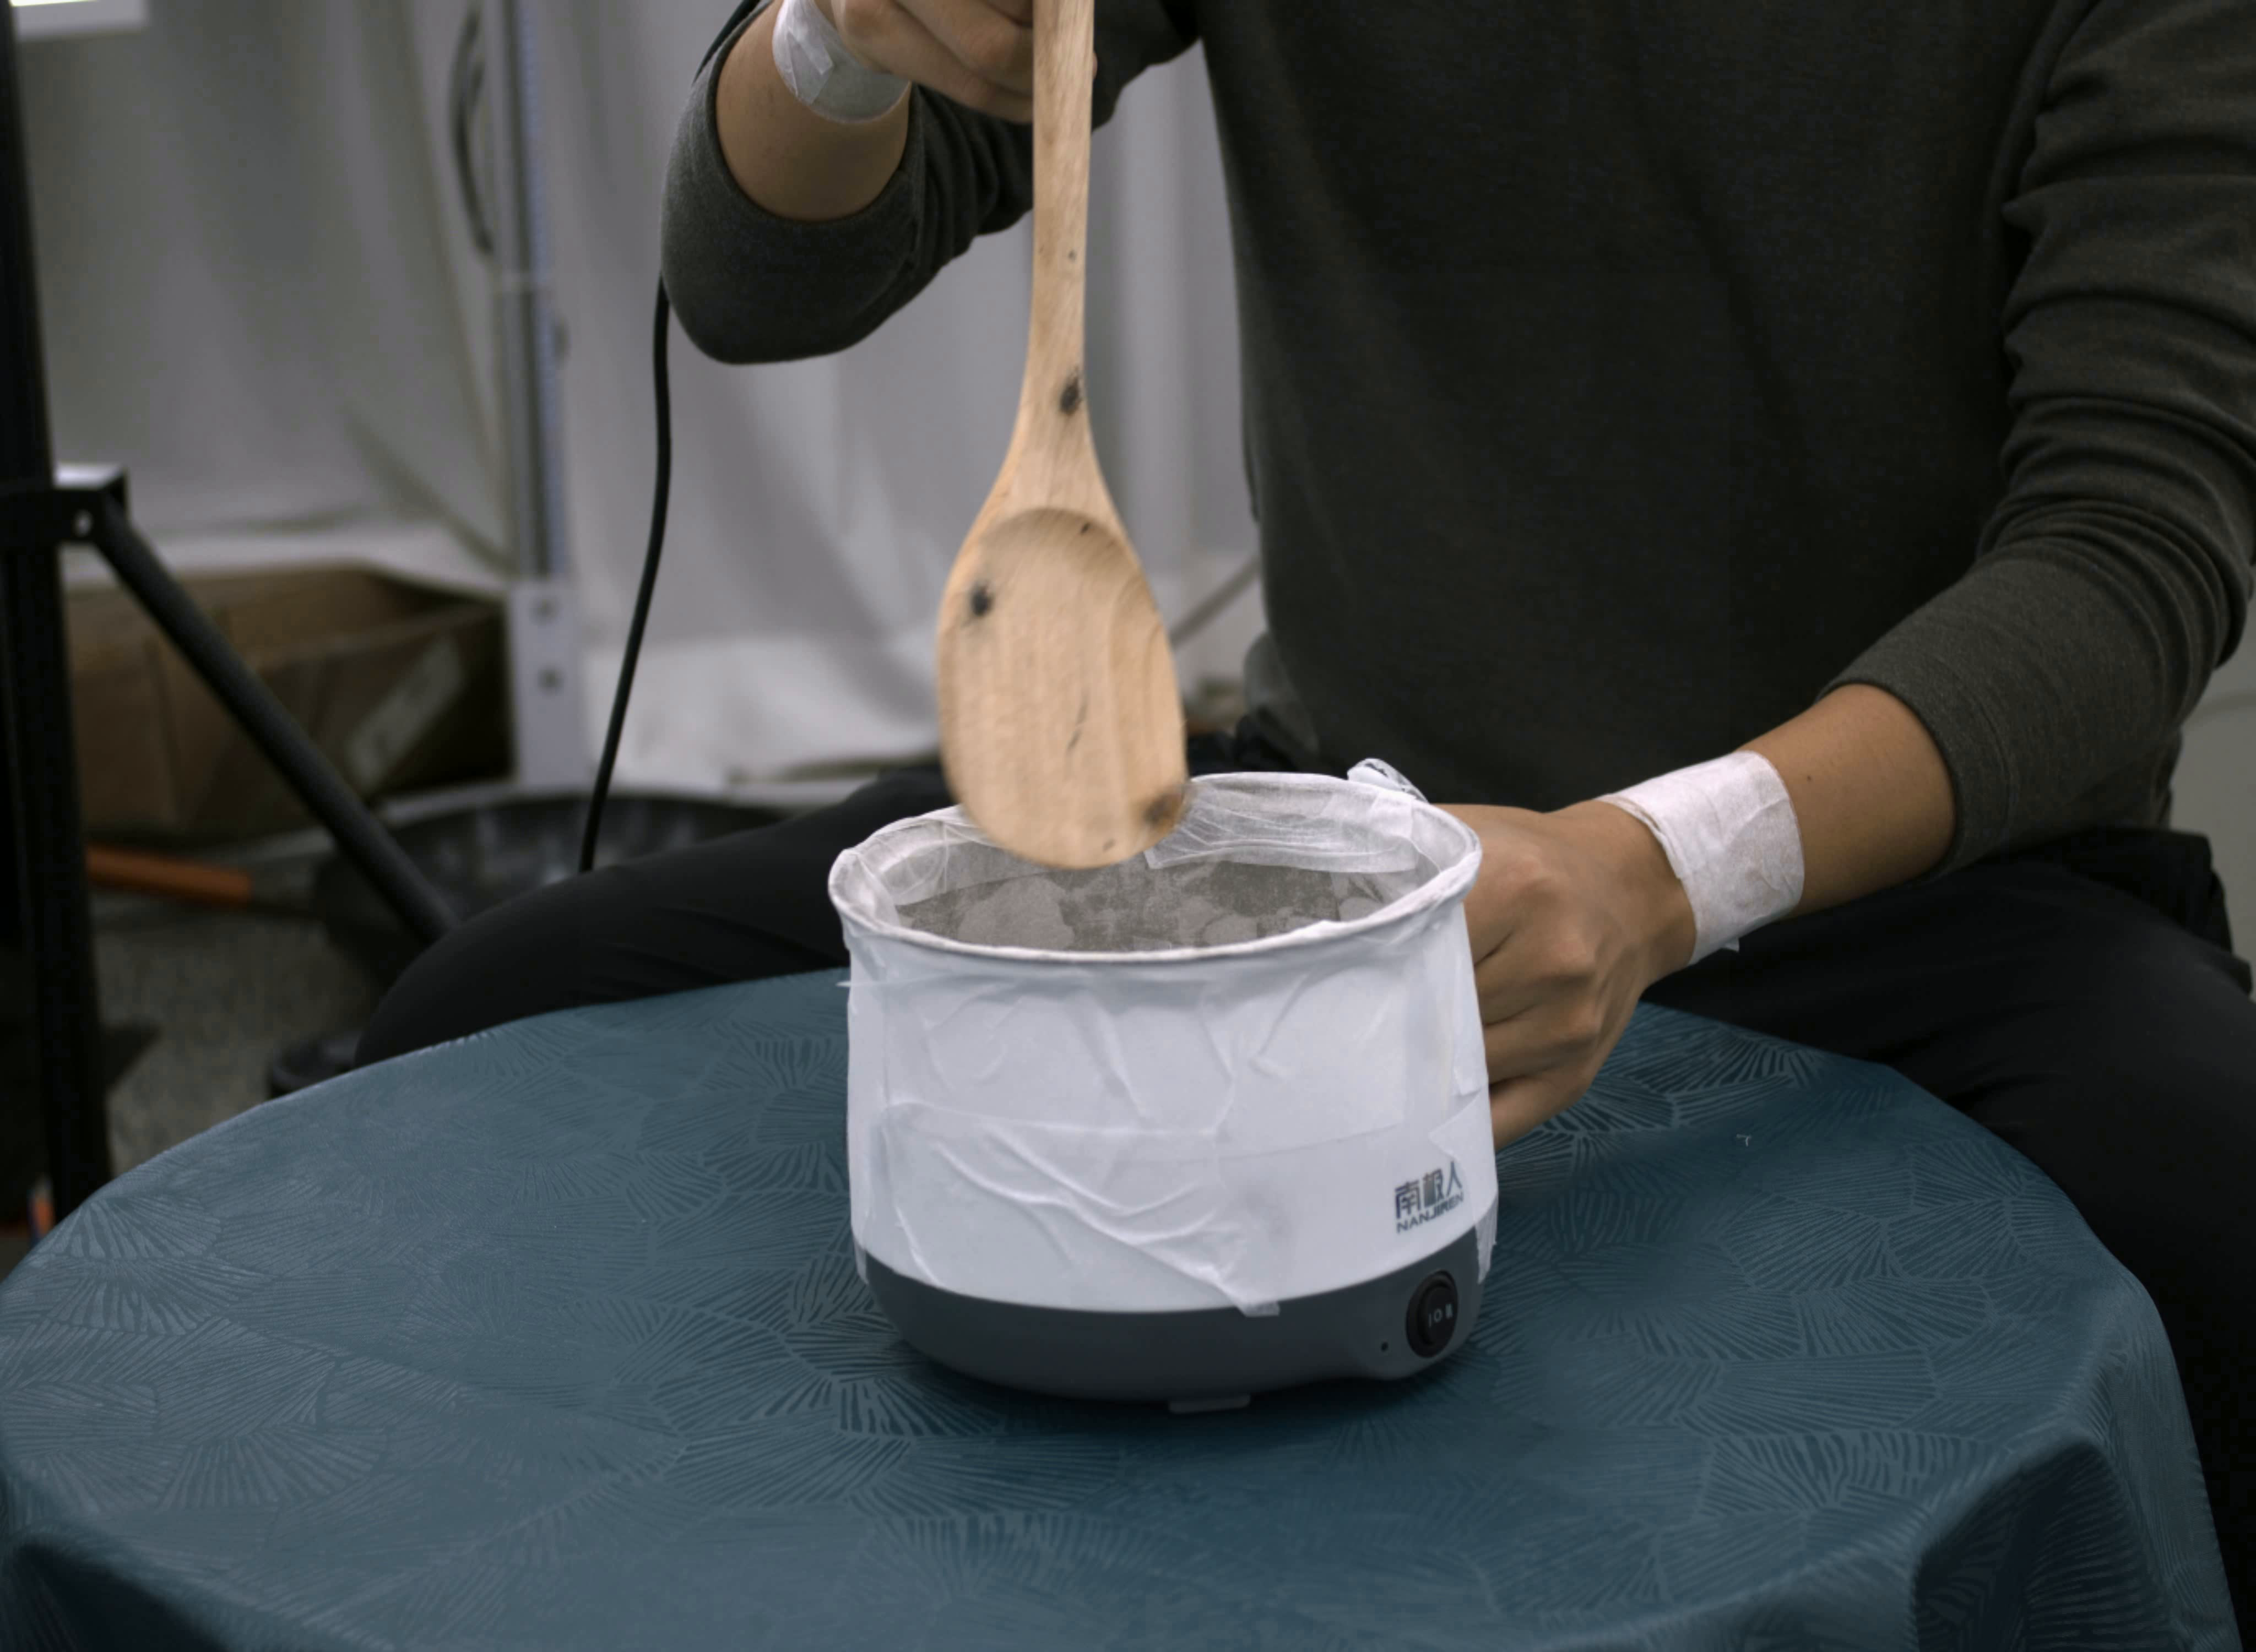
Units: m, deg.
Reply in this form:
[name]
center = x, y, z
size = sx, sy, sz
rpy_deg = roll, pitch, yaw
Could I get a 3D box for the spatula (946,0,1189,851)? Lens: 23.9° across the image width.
[spatula]
center = -0.019, -0.189, 1.406
size = 0.019, 0.393, 0.093
rpy_deg = -4, -5, 38

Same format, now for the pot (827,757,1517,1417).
[pot]
center = 0.028, 0.064, 1.457
size = 0.182, 0.136, 0.229
rpy_deg = 9, 19, 38
